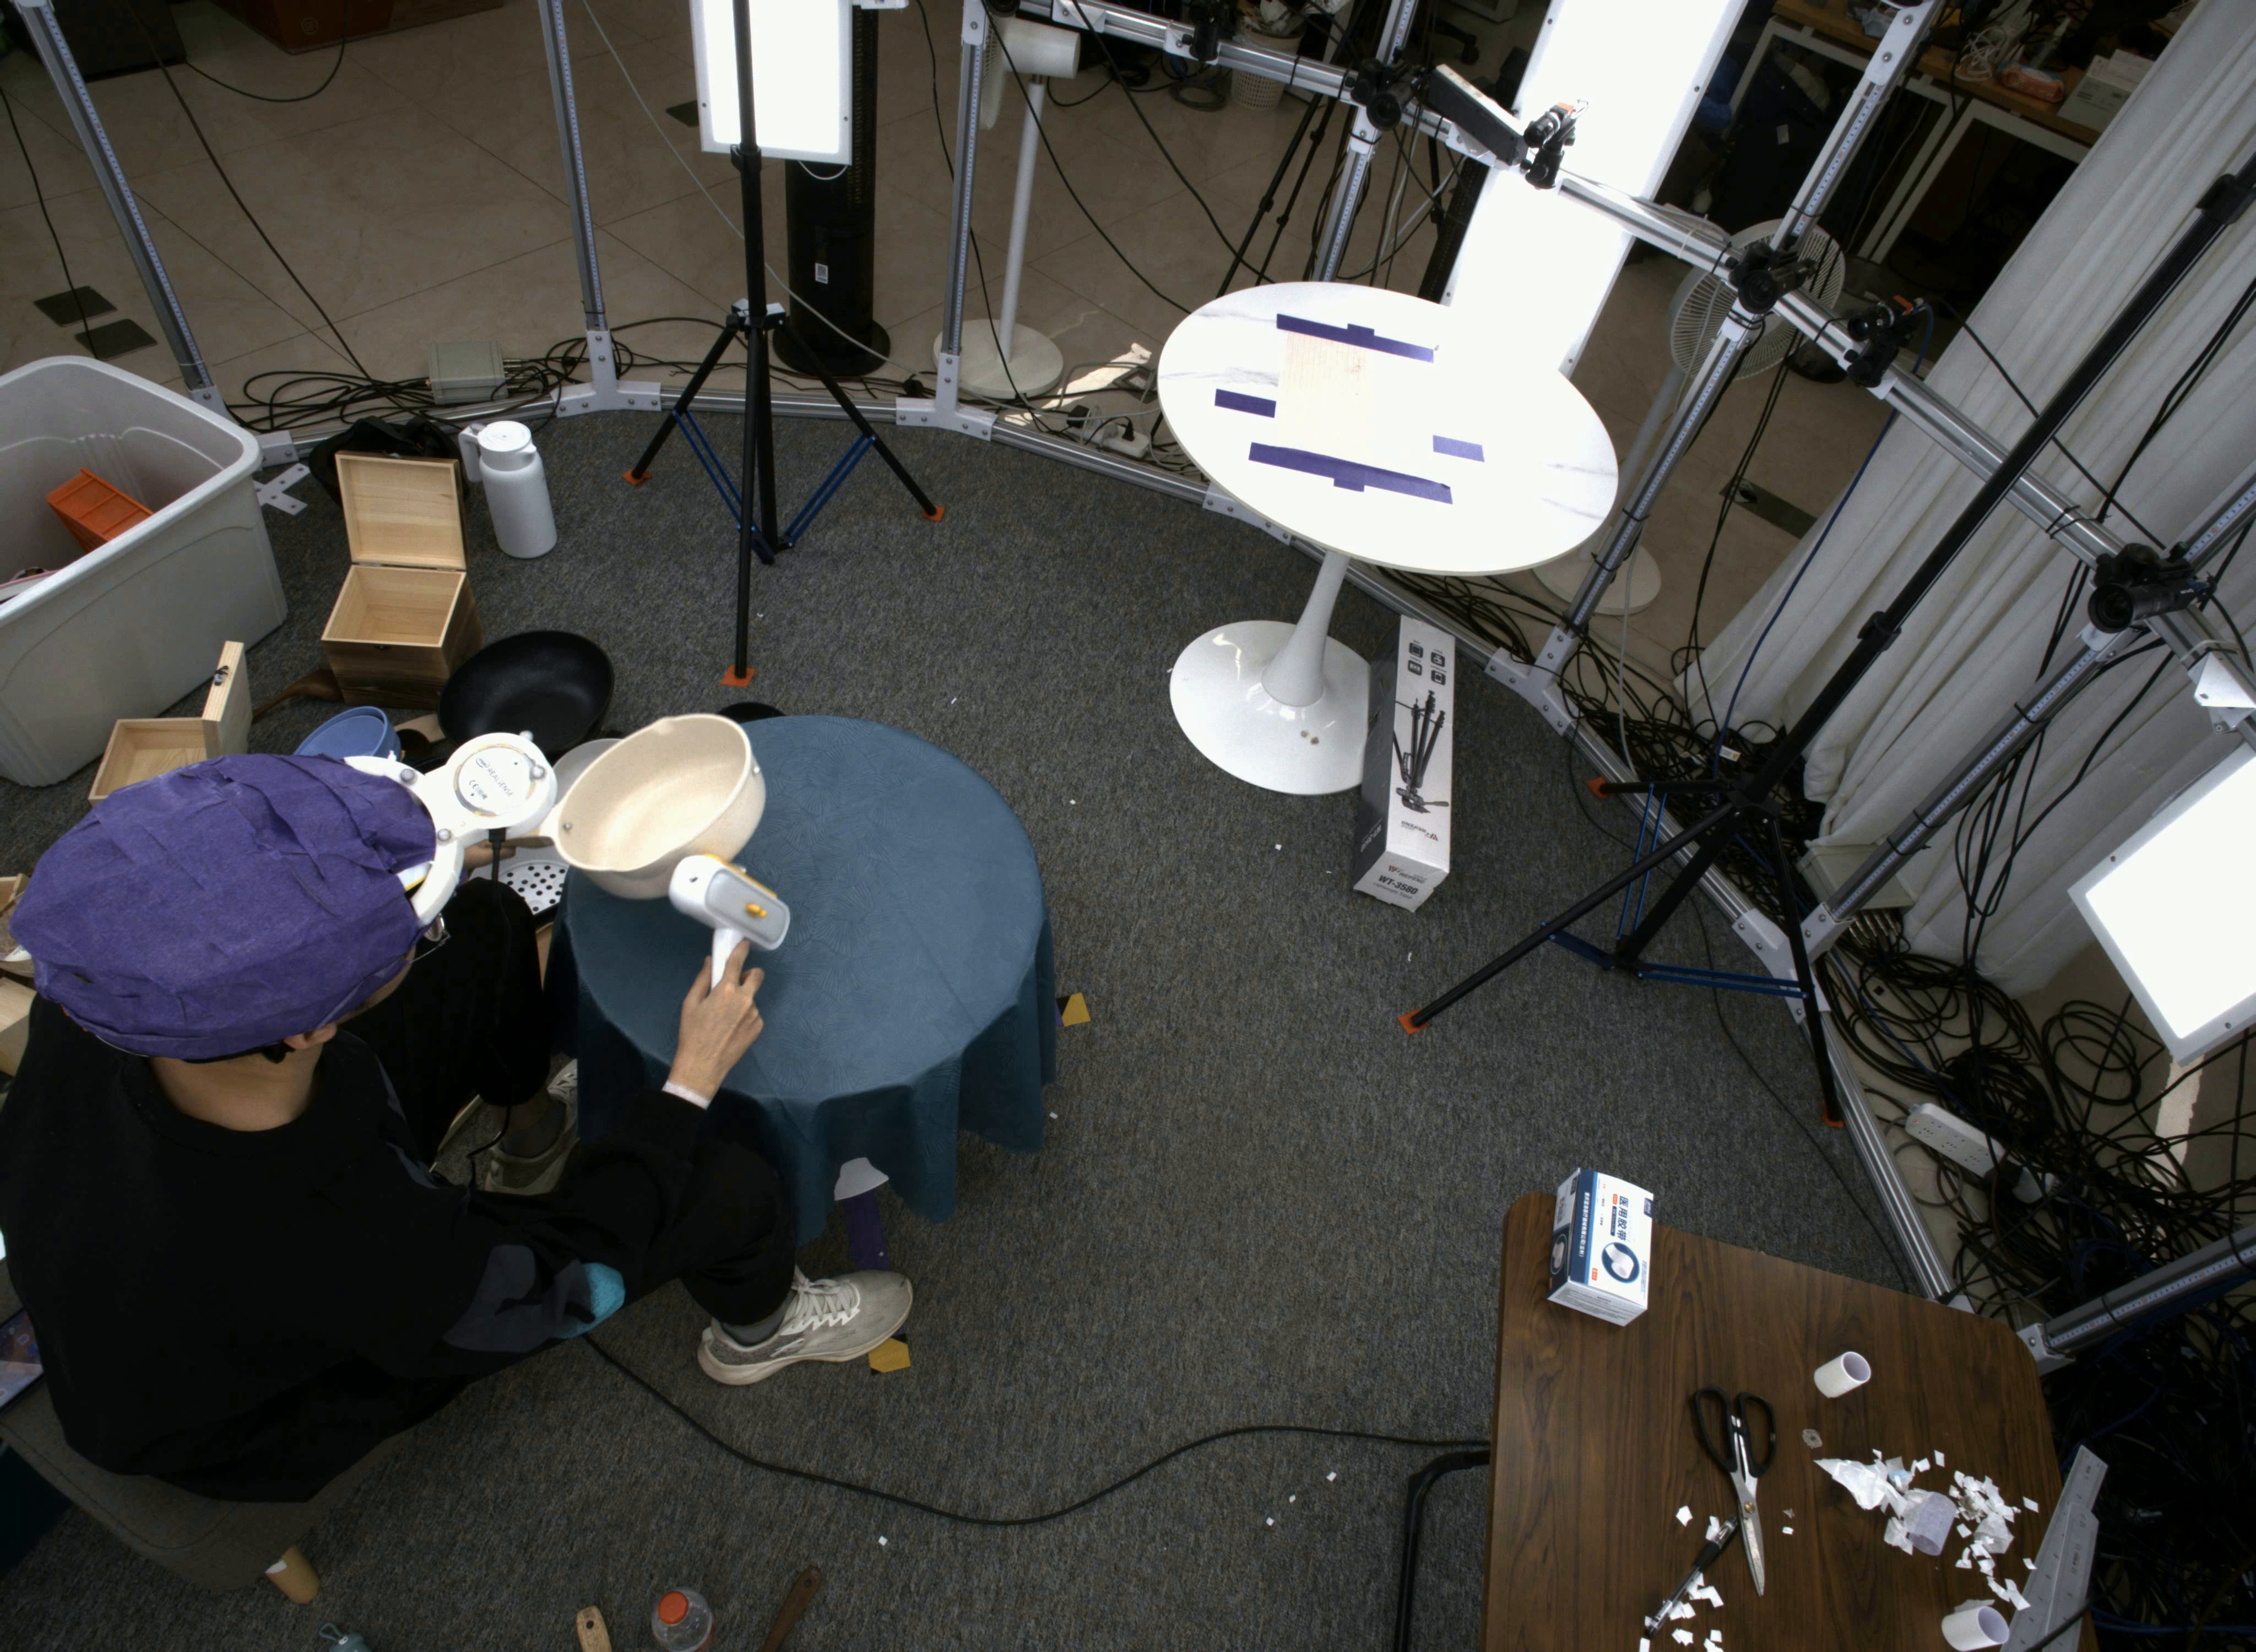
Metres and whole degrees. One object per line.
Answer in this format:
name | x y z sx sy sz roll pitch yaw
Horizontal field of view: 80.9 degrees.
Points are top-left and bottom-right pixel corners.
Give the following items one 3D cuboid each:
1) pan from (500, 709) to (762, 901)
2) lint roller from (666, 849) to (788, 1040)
pan | -0.636 0.003 1.522 0.430 0.106 0.256 -18 47 3
lint roller | -0.453 0.140 1.453 0.072 0.197 0.192 4 74 12
